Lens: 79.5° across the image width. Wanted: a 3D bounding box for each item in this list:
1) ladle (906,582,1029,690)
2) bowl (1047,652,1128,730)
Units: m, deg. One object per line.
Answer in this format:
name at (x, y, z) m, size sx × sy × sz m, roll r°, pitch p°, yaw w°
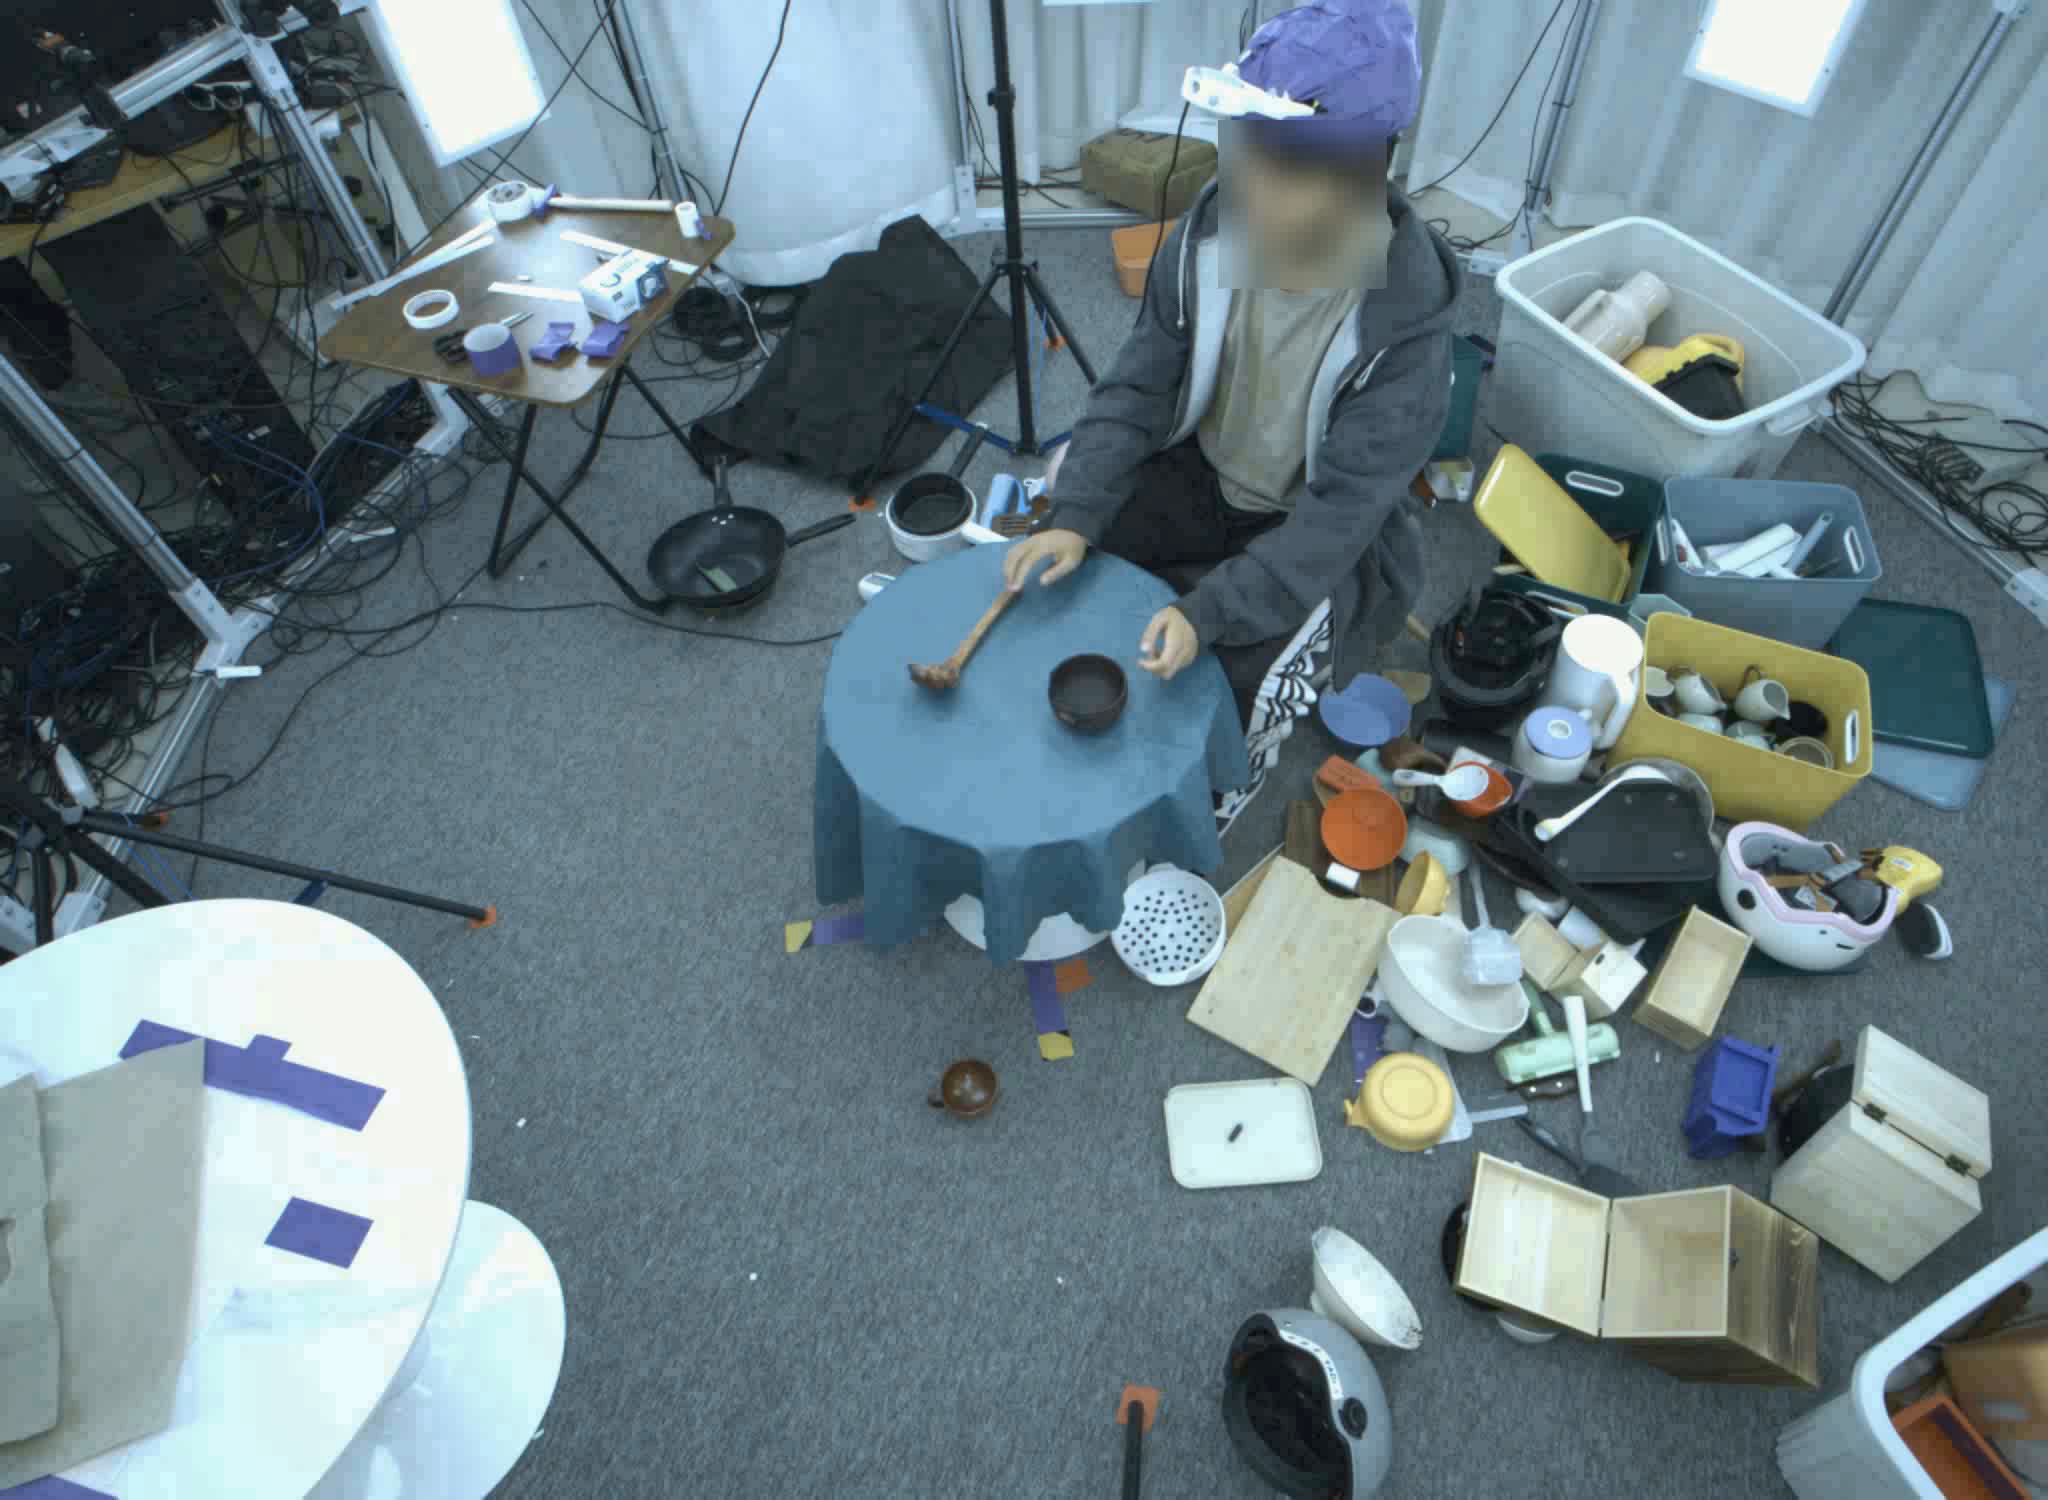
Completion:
ladle at (-0.082, -0.190, 1.879) m, size 0.080 × 0.077 × 0.275 m, roll 23°, pitch 59°, yaw 24°
bowl at (0.093, -0.078, 1.796) m, size 0.118 × 0.070 × 0.117 m, roll -1°, pitch 54°, yaw 2°
